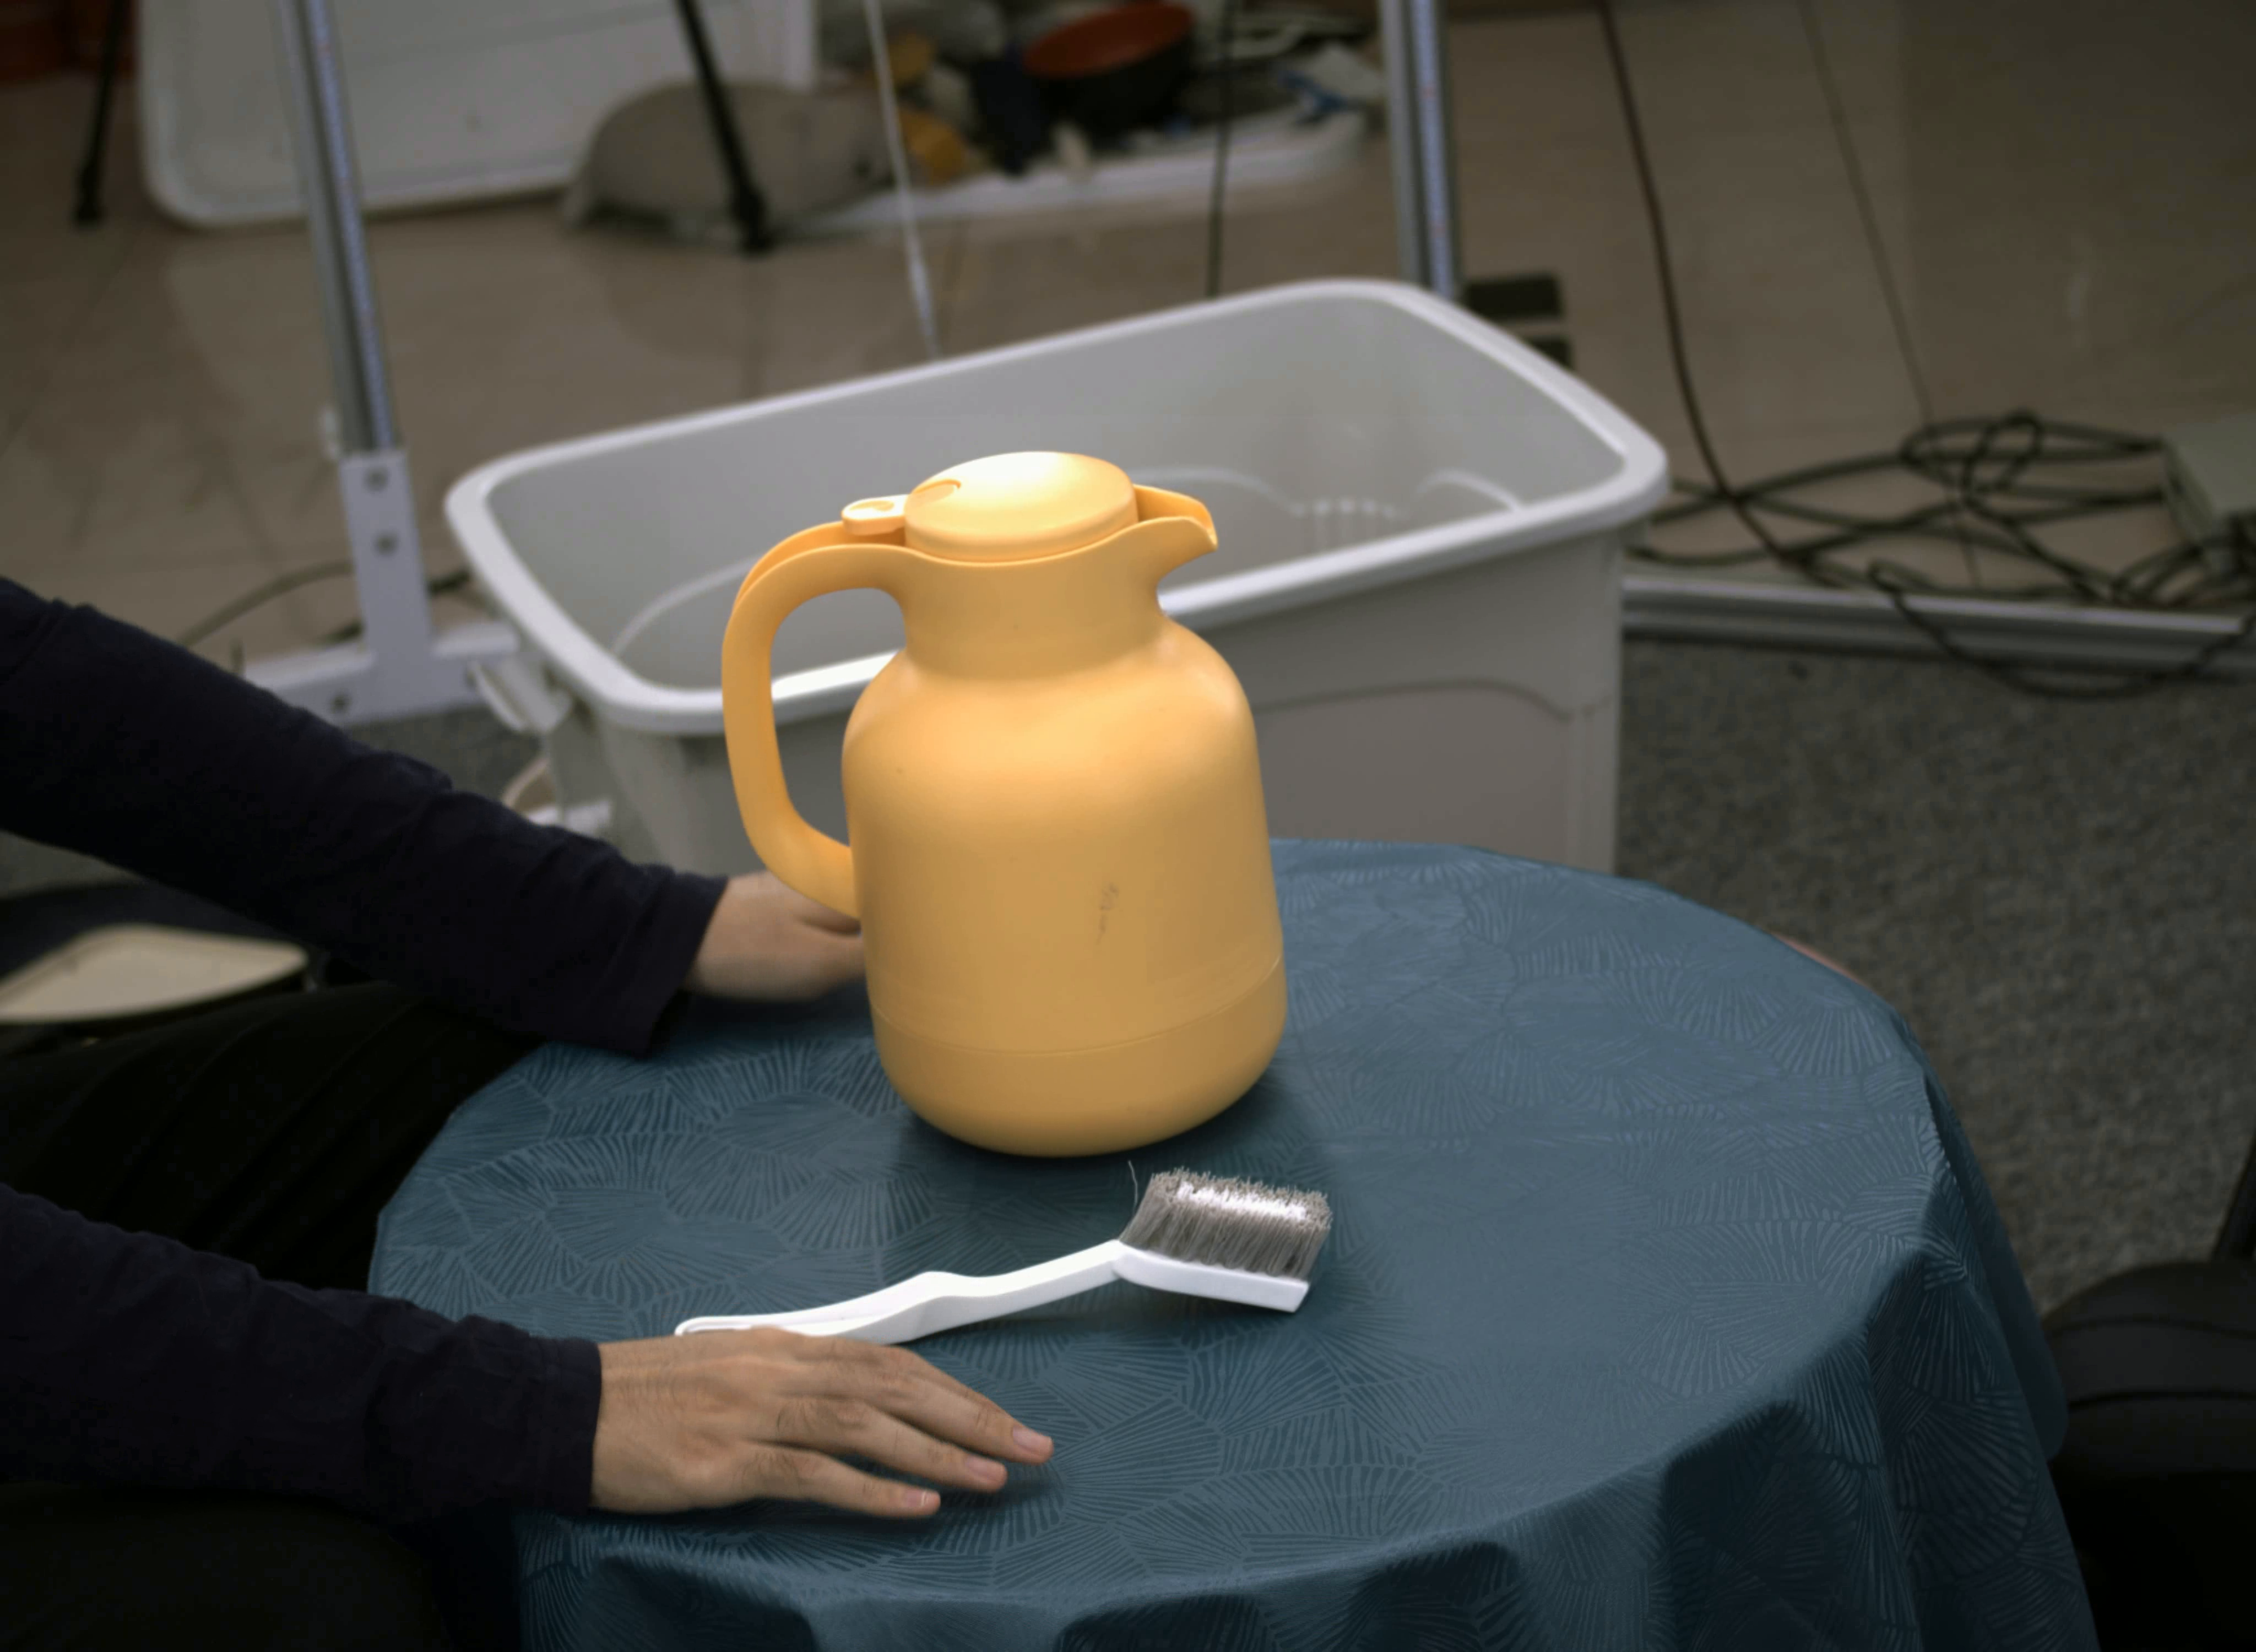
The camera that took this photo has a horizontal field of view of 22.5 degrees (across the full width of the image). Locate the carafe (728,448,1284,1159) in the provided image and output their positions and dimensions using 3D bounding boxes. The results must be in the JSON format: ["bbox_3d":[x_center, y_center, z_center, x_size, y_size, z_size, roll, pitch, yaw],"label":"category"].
[{"bbox_3d":[-0.047,-0.012,2.171,0.202,0.264,0.161,-3,23,6],"label":"carafe"}]

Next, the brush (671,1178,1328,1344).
[{"bbox_3d":[-0.048,0.158,2.059,0.243,0.051,0.034,-4,30,5],"label":"brush"}]
